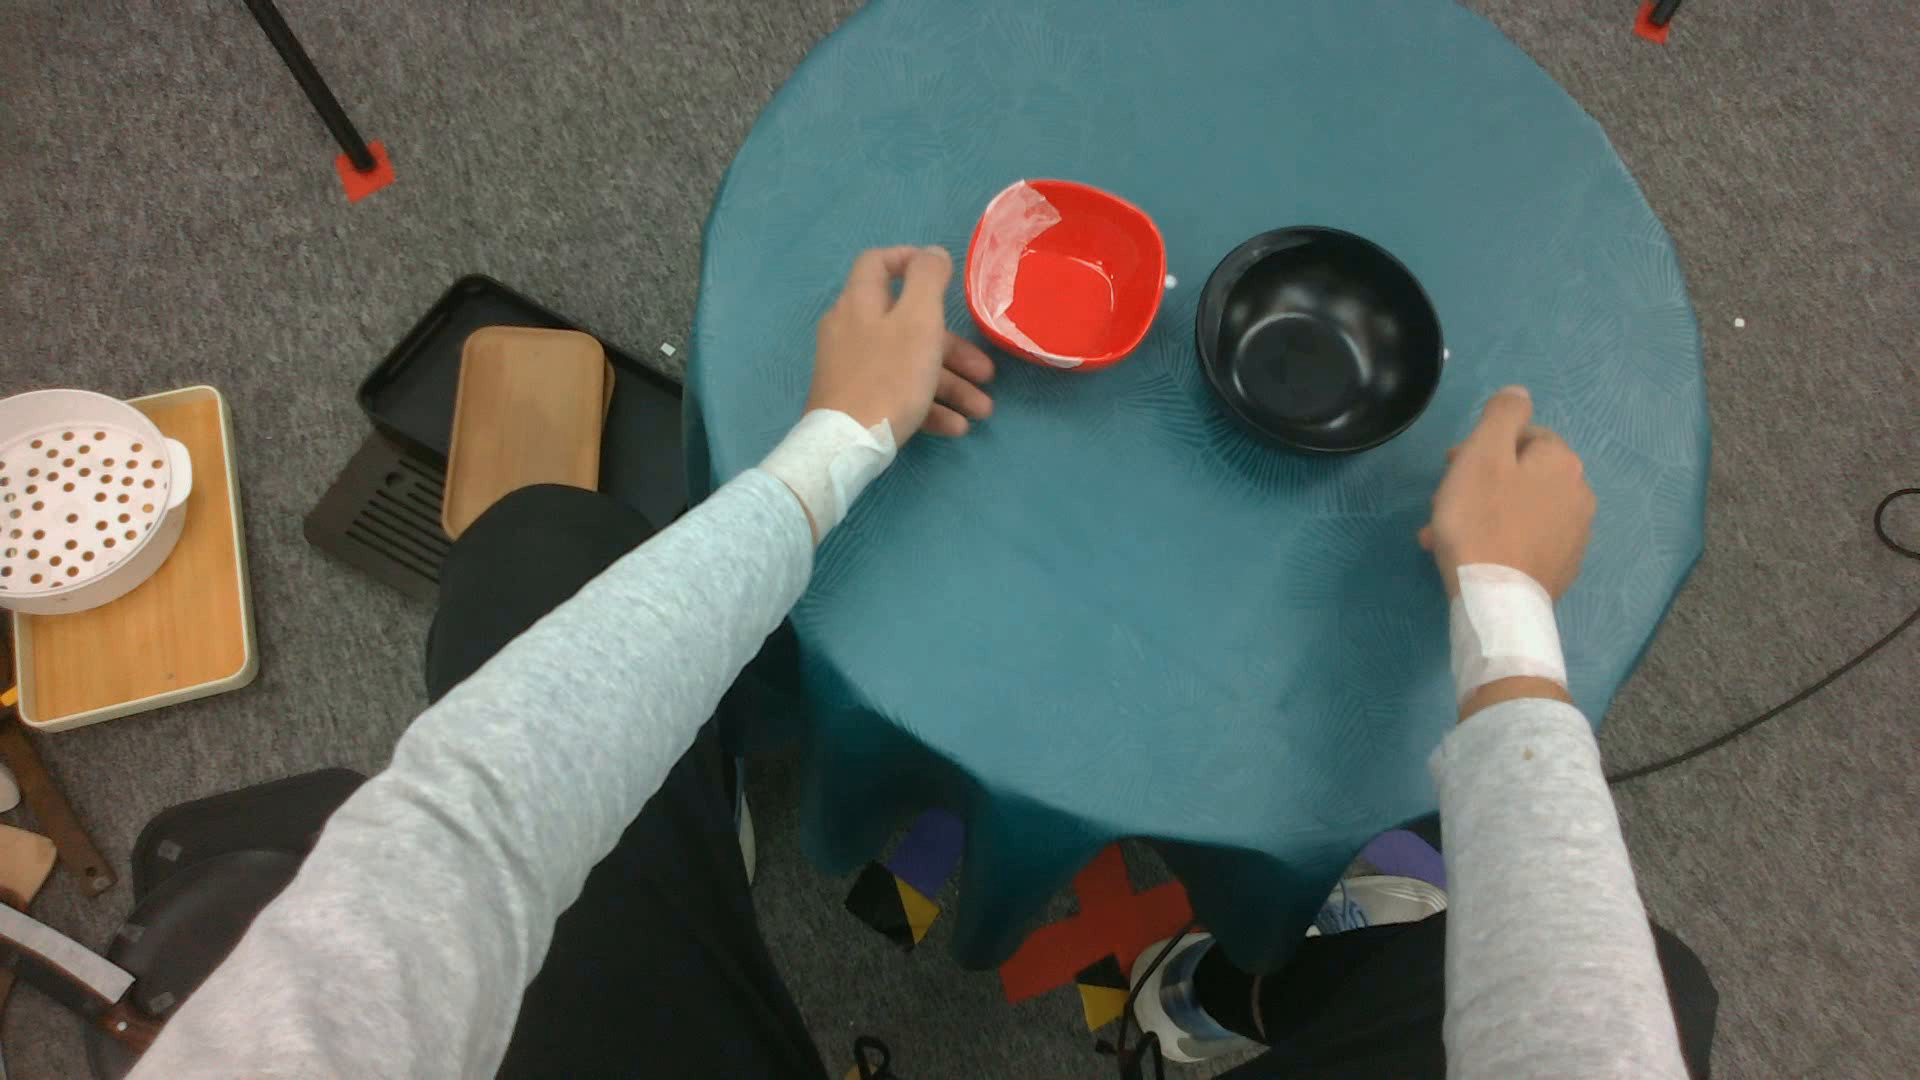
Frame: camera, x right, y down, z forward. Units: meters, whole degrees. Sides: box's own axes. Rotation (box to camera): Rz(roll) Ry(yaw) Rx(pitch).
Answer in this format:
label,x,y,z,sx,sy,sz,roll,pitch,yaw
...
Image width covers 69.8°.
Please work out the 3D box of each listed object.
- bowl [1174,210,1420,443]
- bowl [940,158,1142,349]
label,x,y,z,sx,sy,sz,roll,pitch,yaw
bowl,0.186,-0.115,0.785,0.140,0.049,0.140,1,73,-4
bowl,0.043,-0.154,0.782,0.119,0.051,0.119,2,71,-6
